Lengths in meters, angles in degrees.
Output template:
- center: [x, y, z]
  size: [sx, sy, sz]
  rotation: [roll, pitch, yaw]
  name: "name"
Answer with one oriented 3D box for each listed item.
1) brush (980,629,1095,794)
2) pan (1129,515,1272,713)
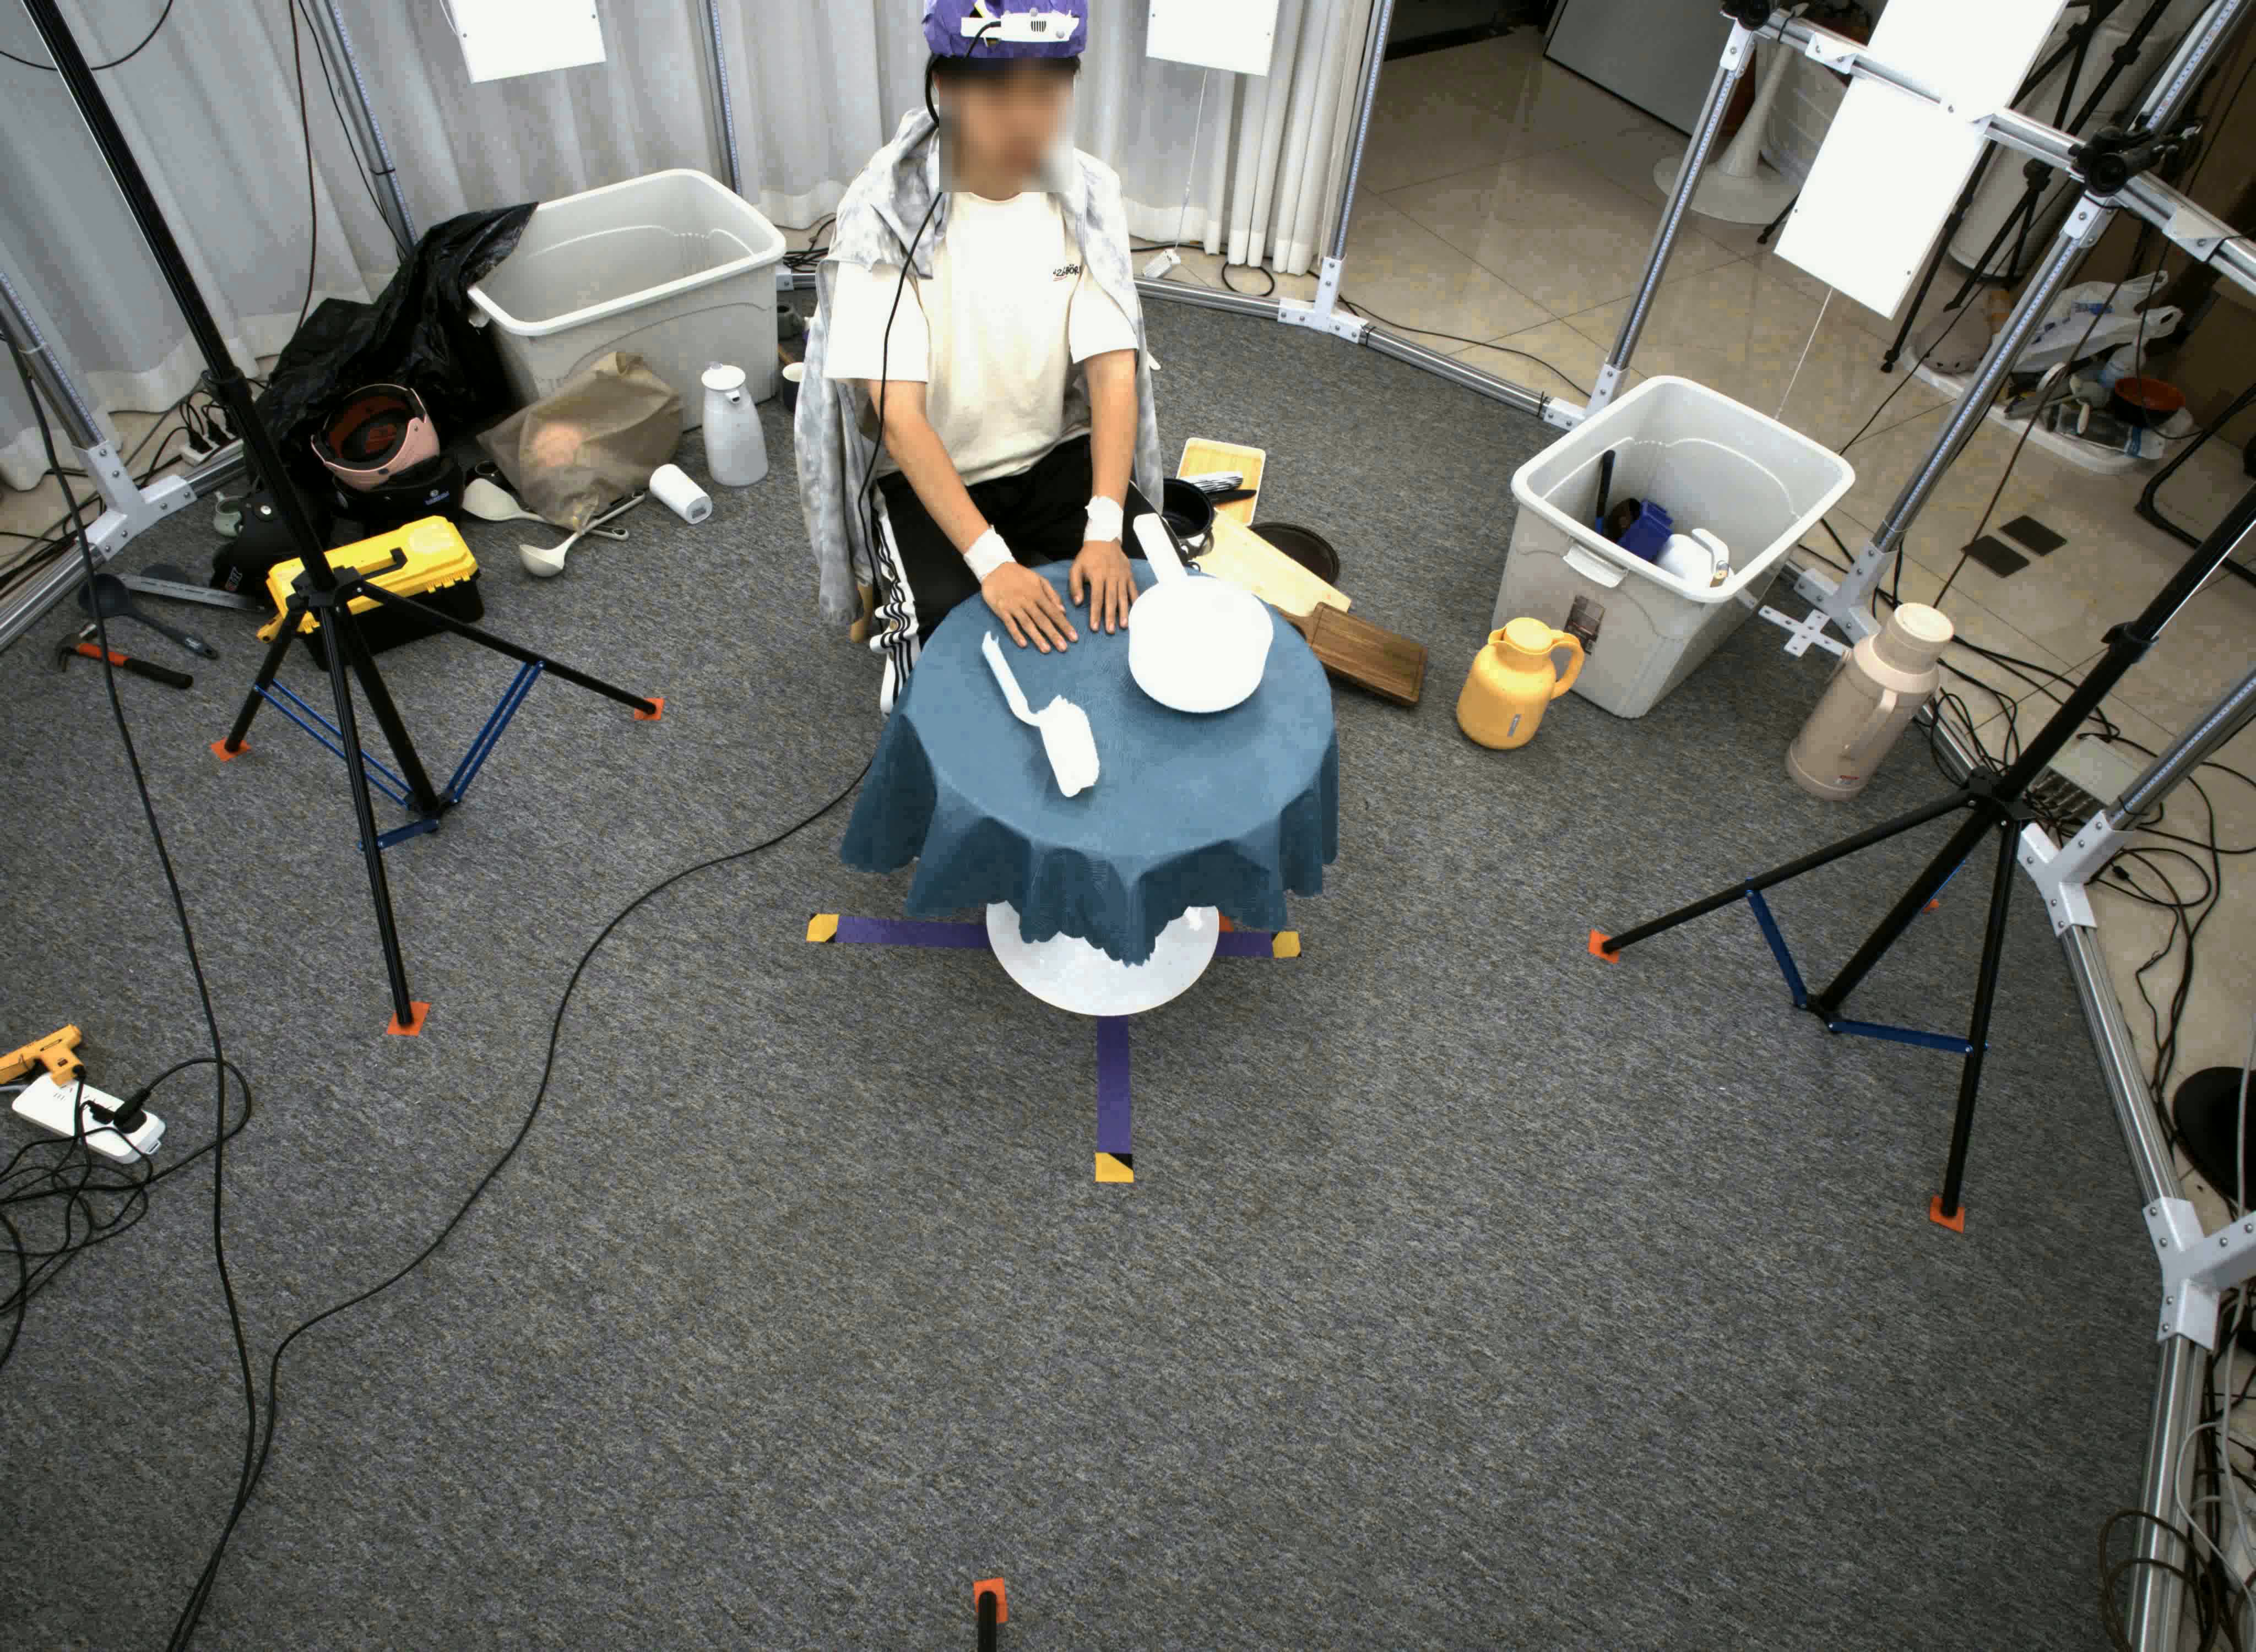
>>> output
- center: [-0.120, -0.182, 1.757]
  size: [0.084, 0.081, 0.333]
  rotation: [-19, 53, -12]
  name: "brush"
- center: [0.077, -0.309, 1.873]
  size: [0.201, 0.099, 0.363]
  rotation: [-11, 50, -13]
  name: "pan"
